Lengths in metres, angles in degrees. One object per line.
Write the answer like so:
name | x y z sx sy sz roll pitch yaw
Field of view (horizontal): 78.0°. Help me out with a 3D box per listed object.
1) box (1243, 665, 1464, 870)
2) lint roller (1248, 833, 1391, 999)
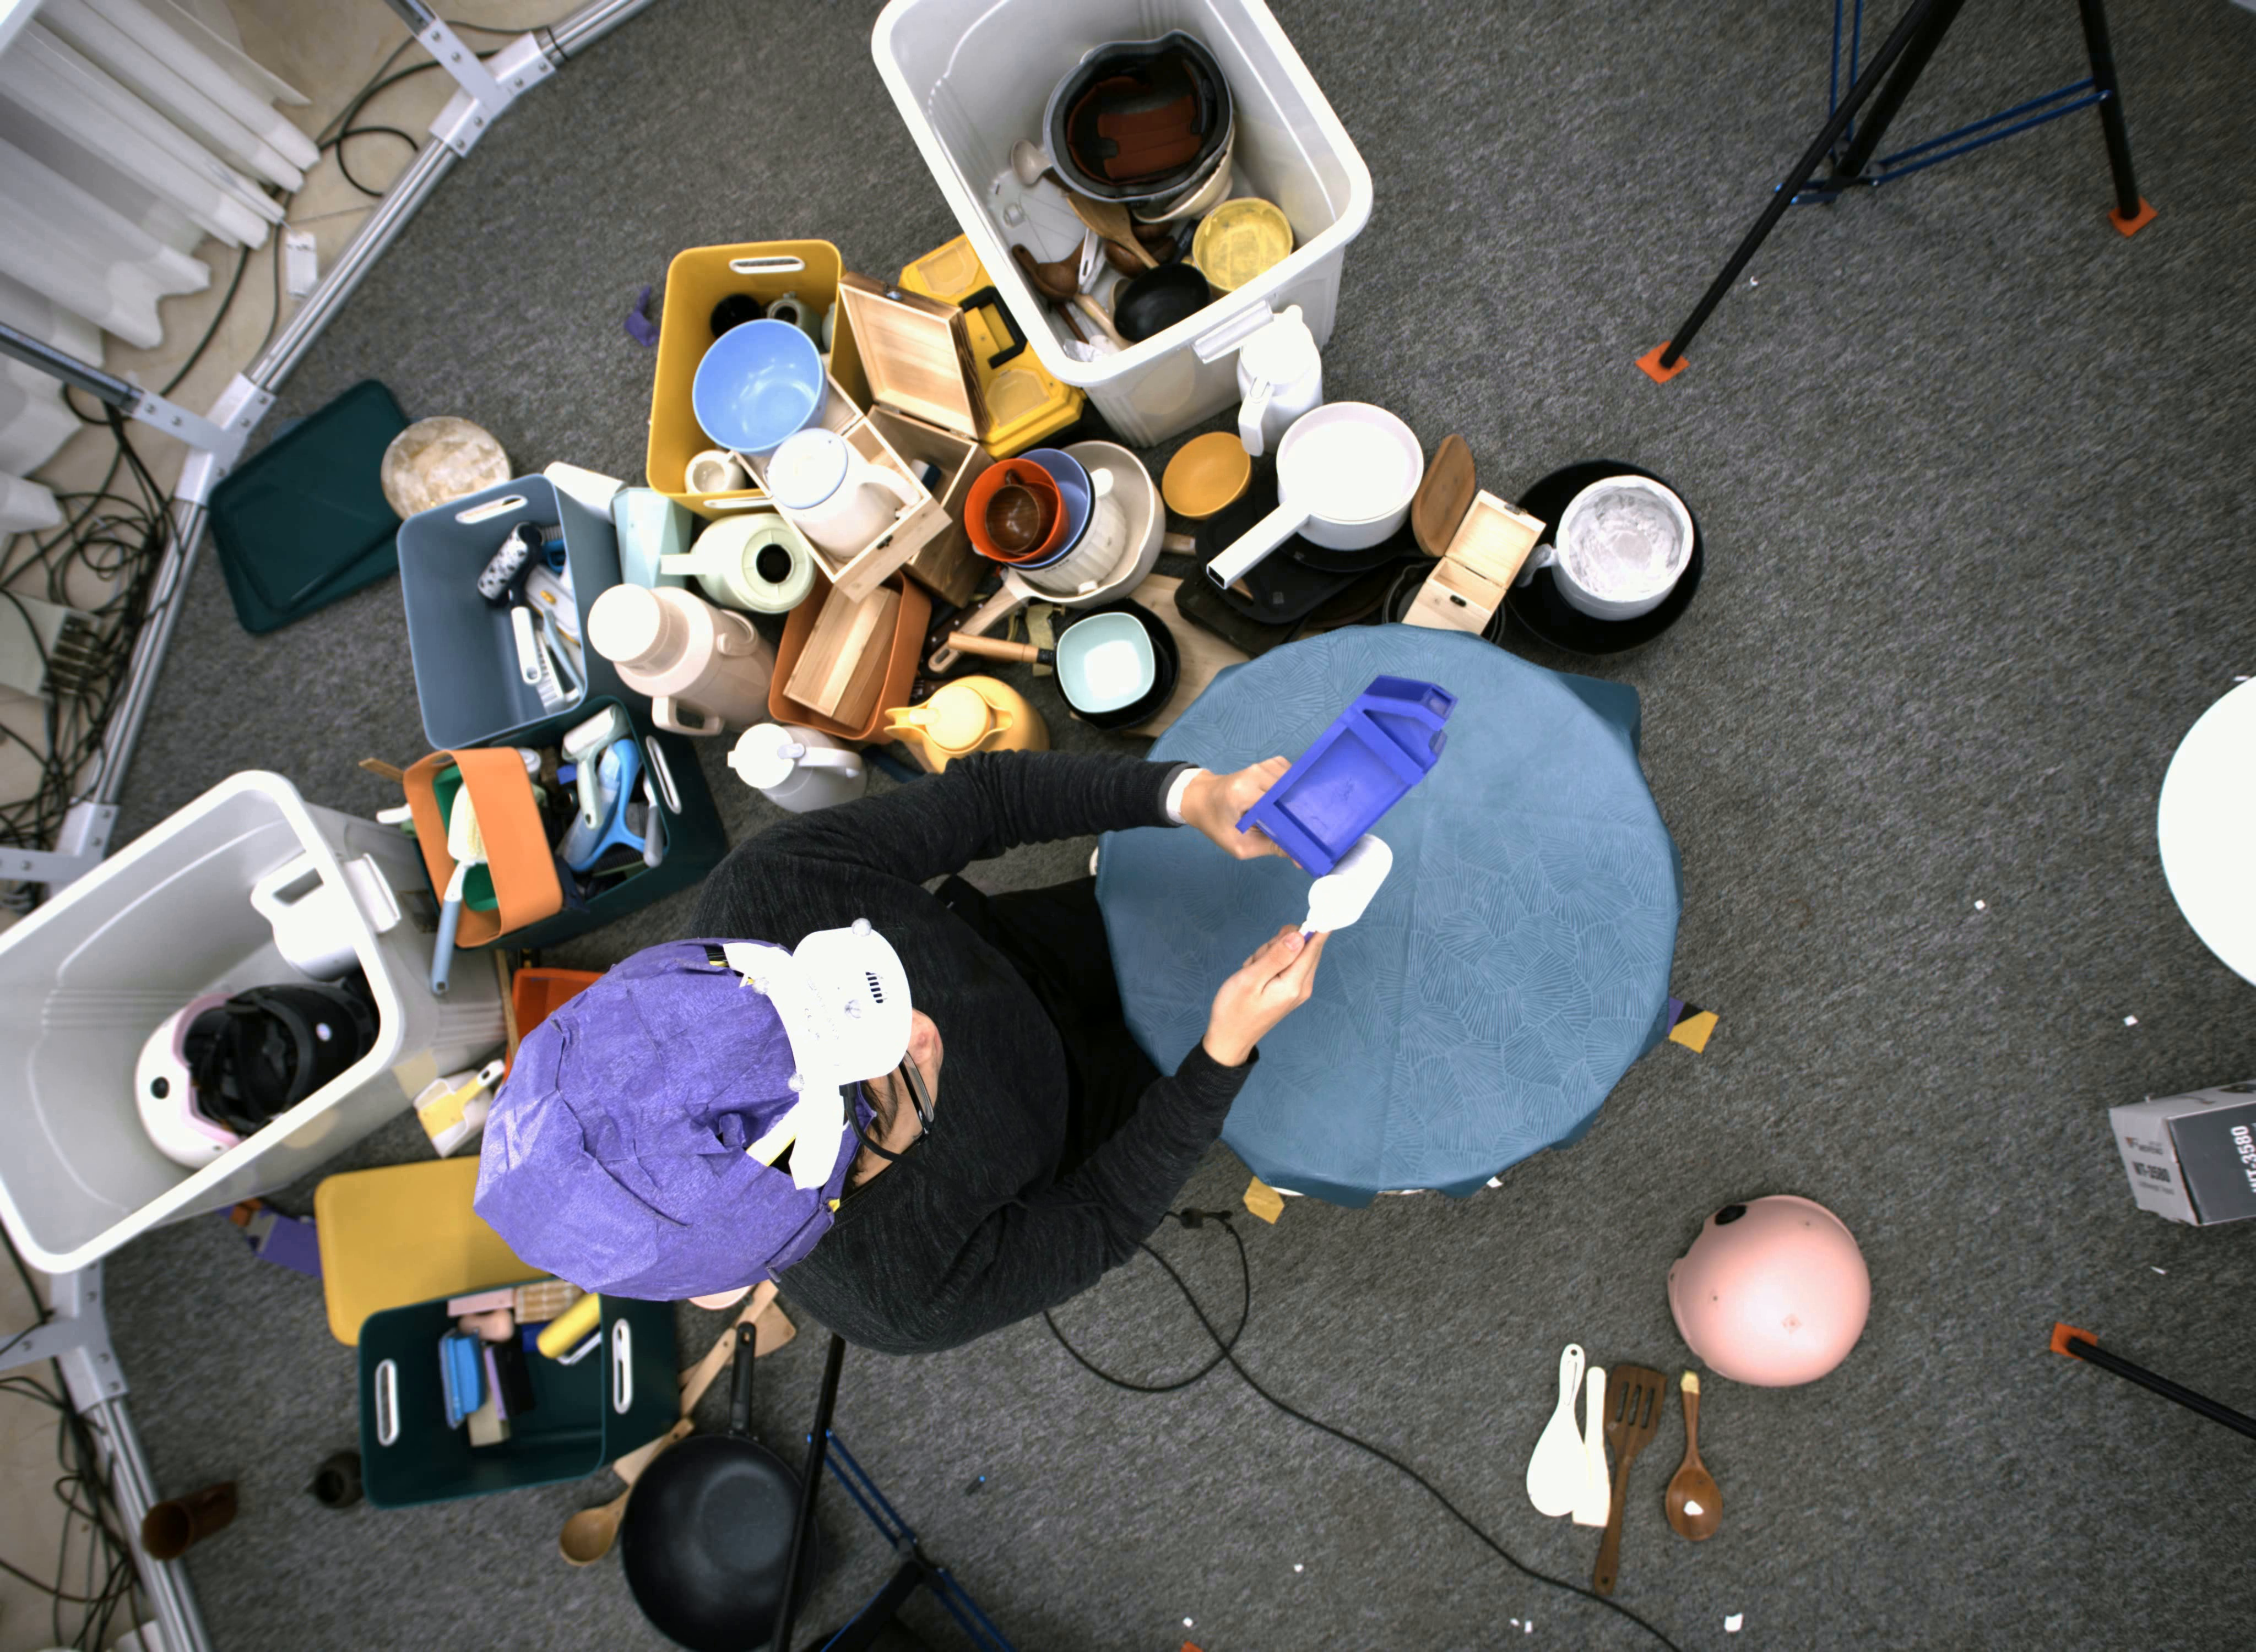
box | 0.194 -0.057 1.133 0.082 0.122 0.183 42 115 5
lint roller | 0.162 0.094 1.203 0.050 0.130 0.185 32 120 9
